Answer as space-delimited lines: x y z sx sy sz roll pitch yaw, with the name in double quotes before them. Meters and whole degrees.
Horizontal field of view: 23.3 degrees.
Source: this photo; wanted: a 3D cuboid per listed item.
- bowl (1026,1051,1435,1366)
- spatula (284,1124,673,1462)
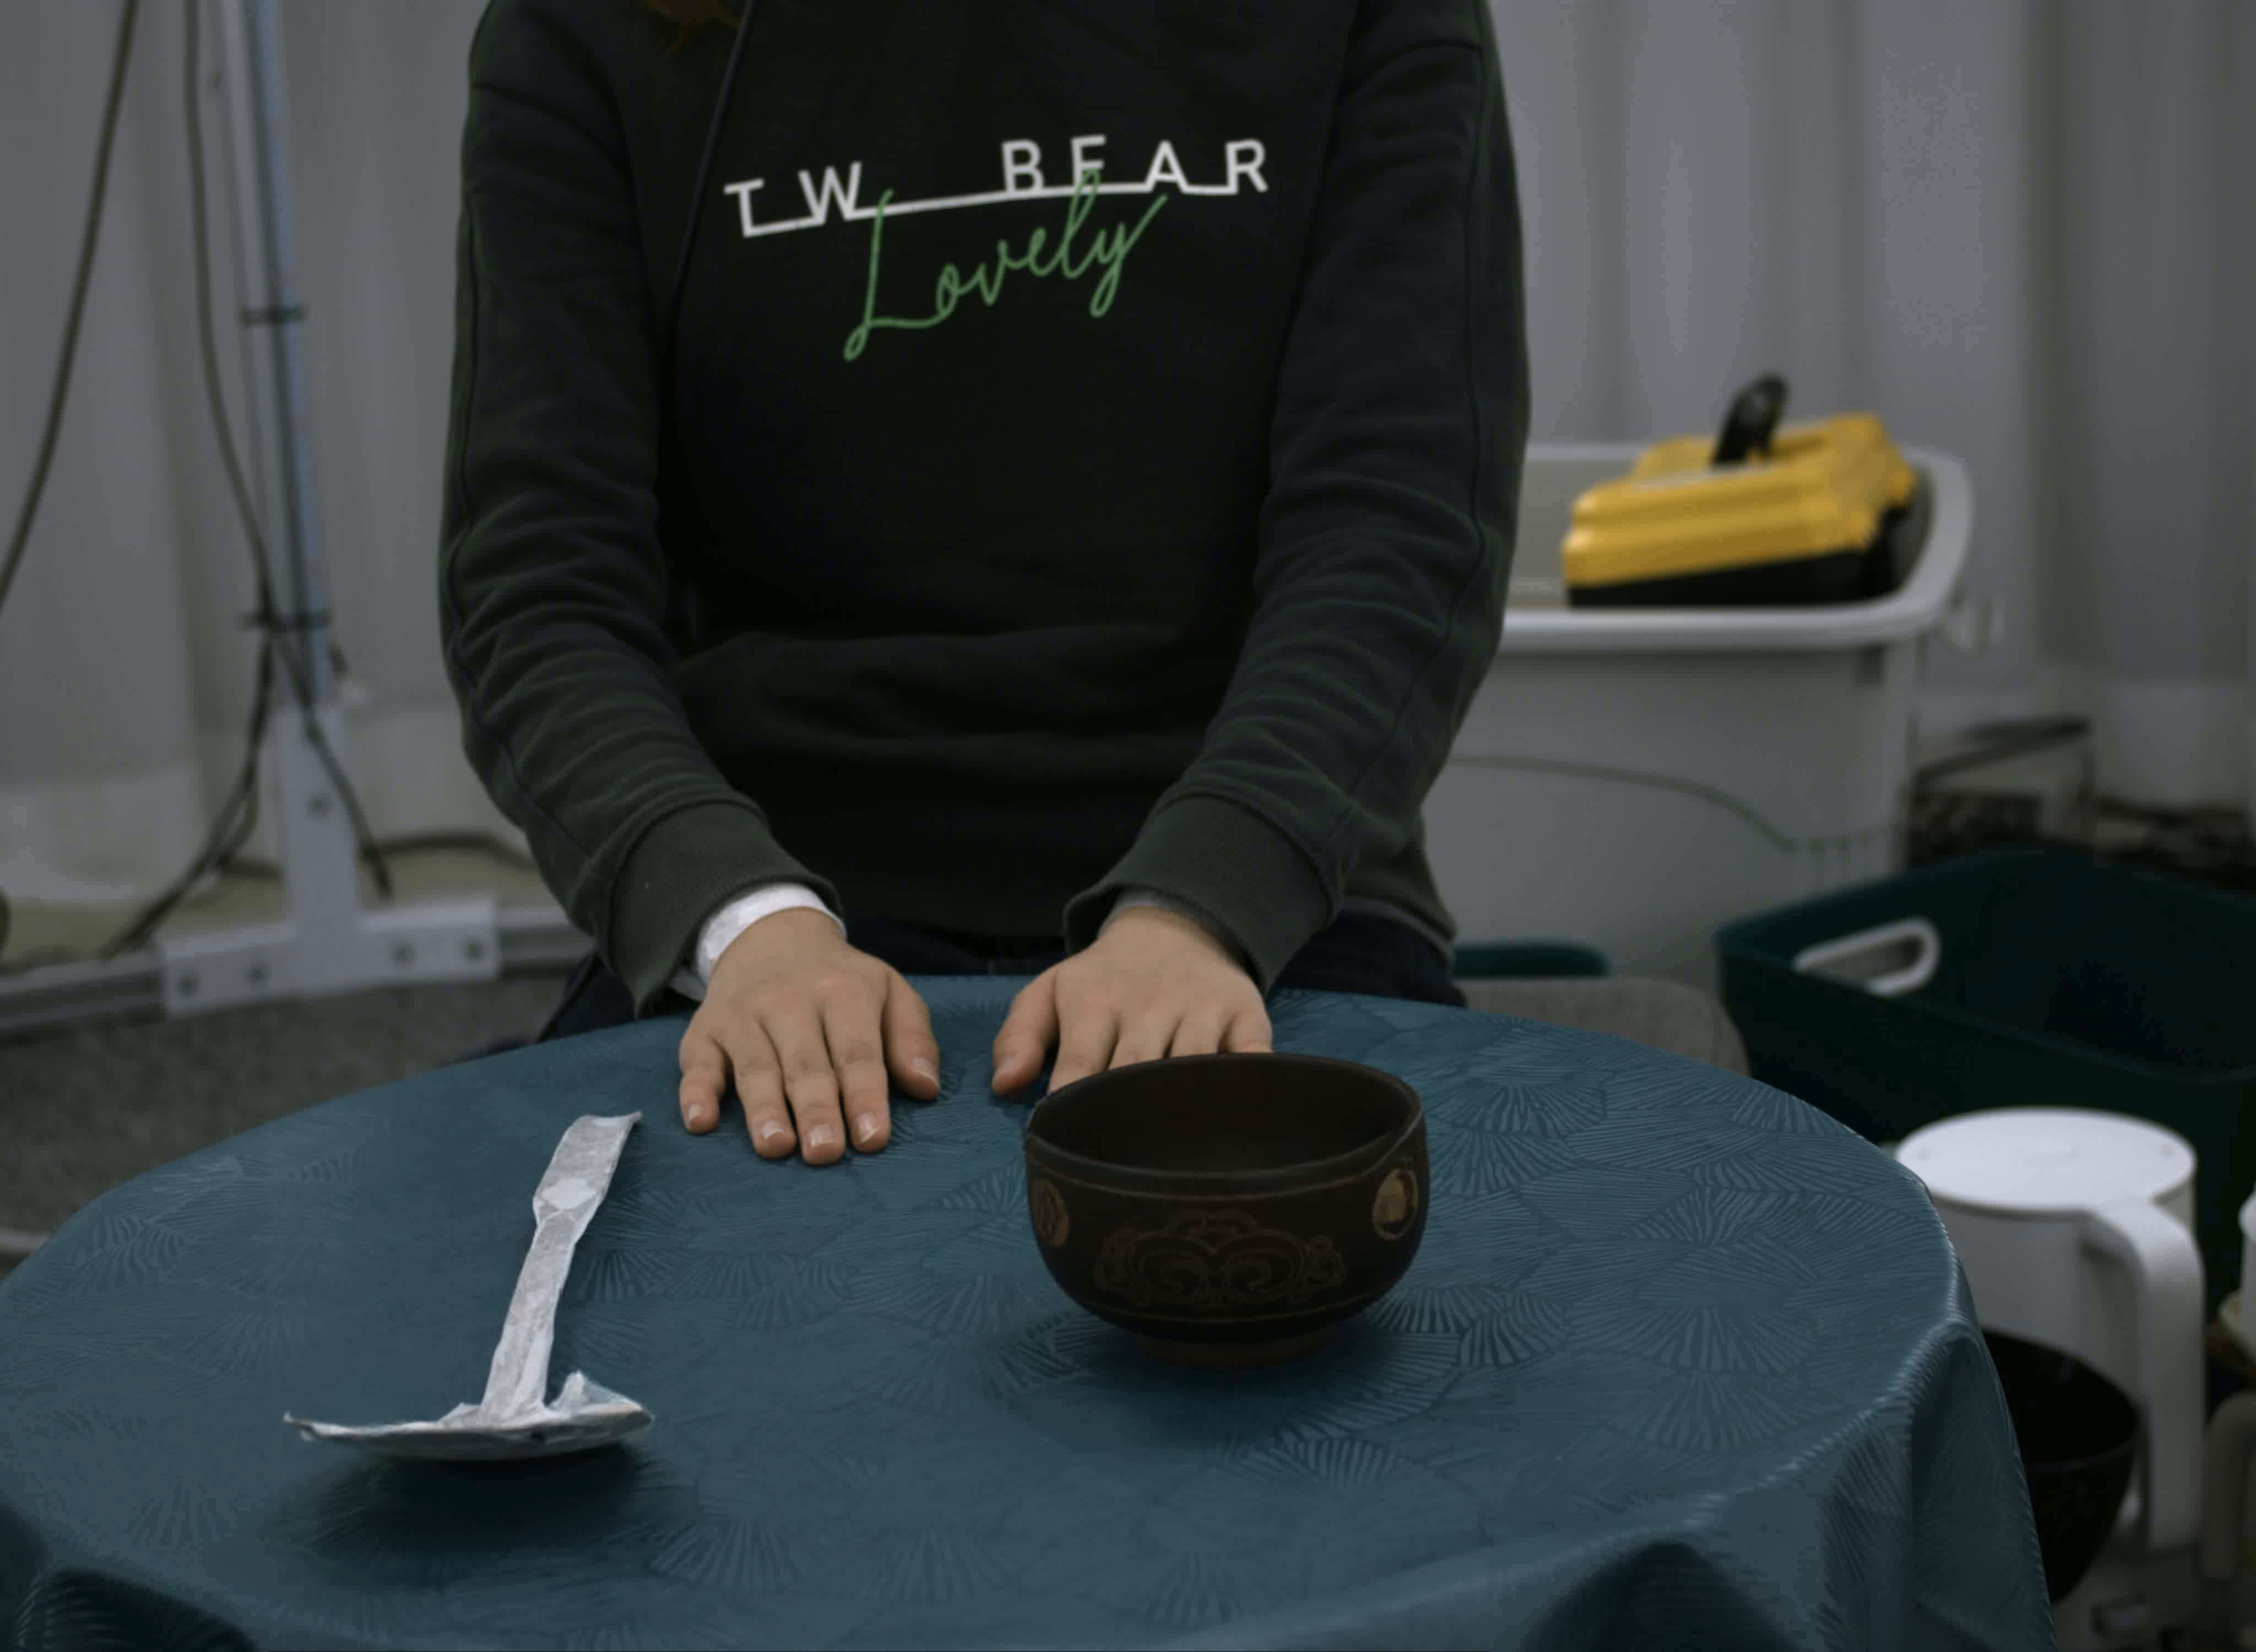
"bowl" 0.030 0.114 1.575 0.117 0.069 0.119 -1 14 0
"spatula" -0.169 0.129 1.618 0.098 0.044 0.367 -4 15 3
